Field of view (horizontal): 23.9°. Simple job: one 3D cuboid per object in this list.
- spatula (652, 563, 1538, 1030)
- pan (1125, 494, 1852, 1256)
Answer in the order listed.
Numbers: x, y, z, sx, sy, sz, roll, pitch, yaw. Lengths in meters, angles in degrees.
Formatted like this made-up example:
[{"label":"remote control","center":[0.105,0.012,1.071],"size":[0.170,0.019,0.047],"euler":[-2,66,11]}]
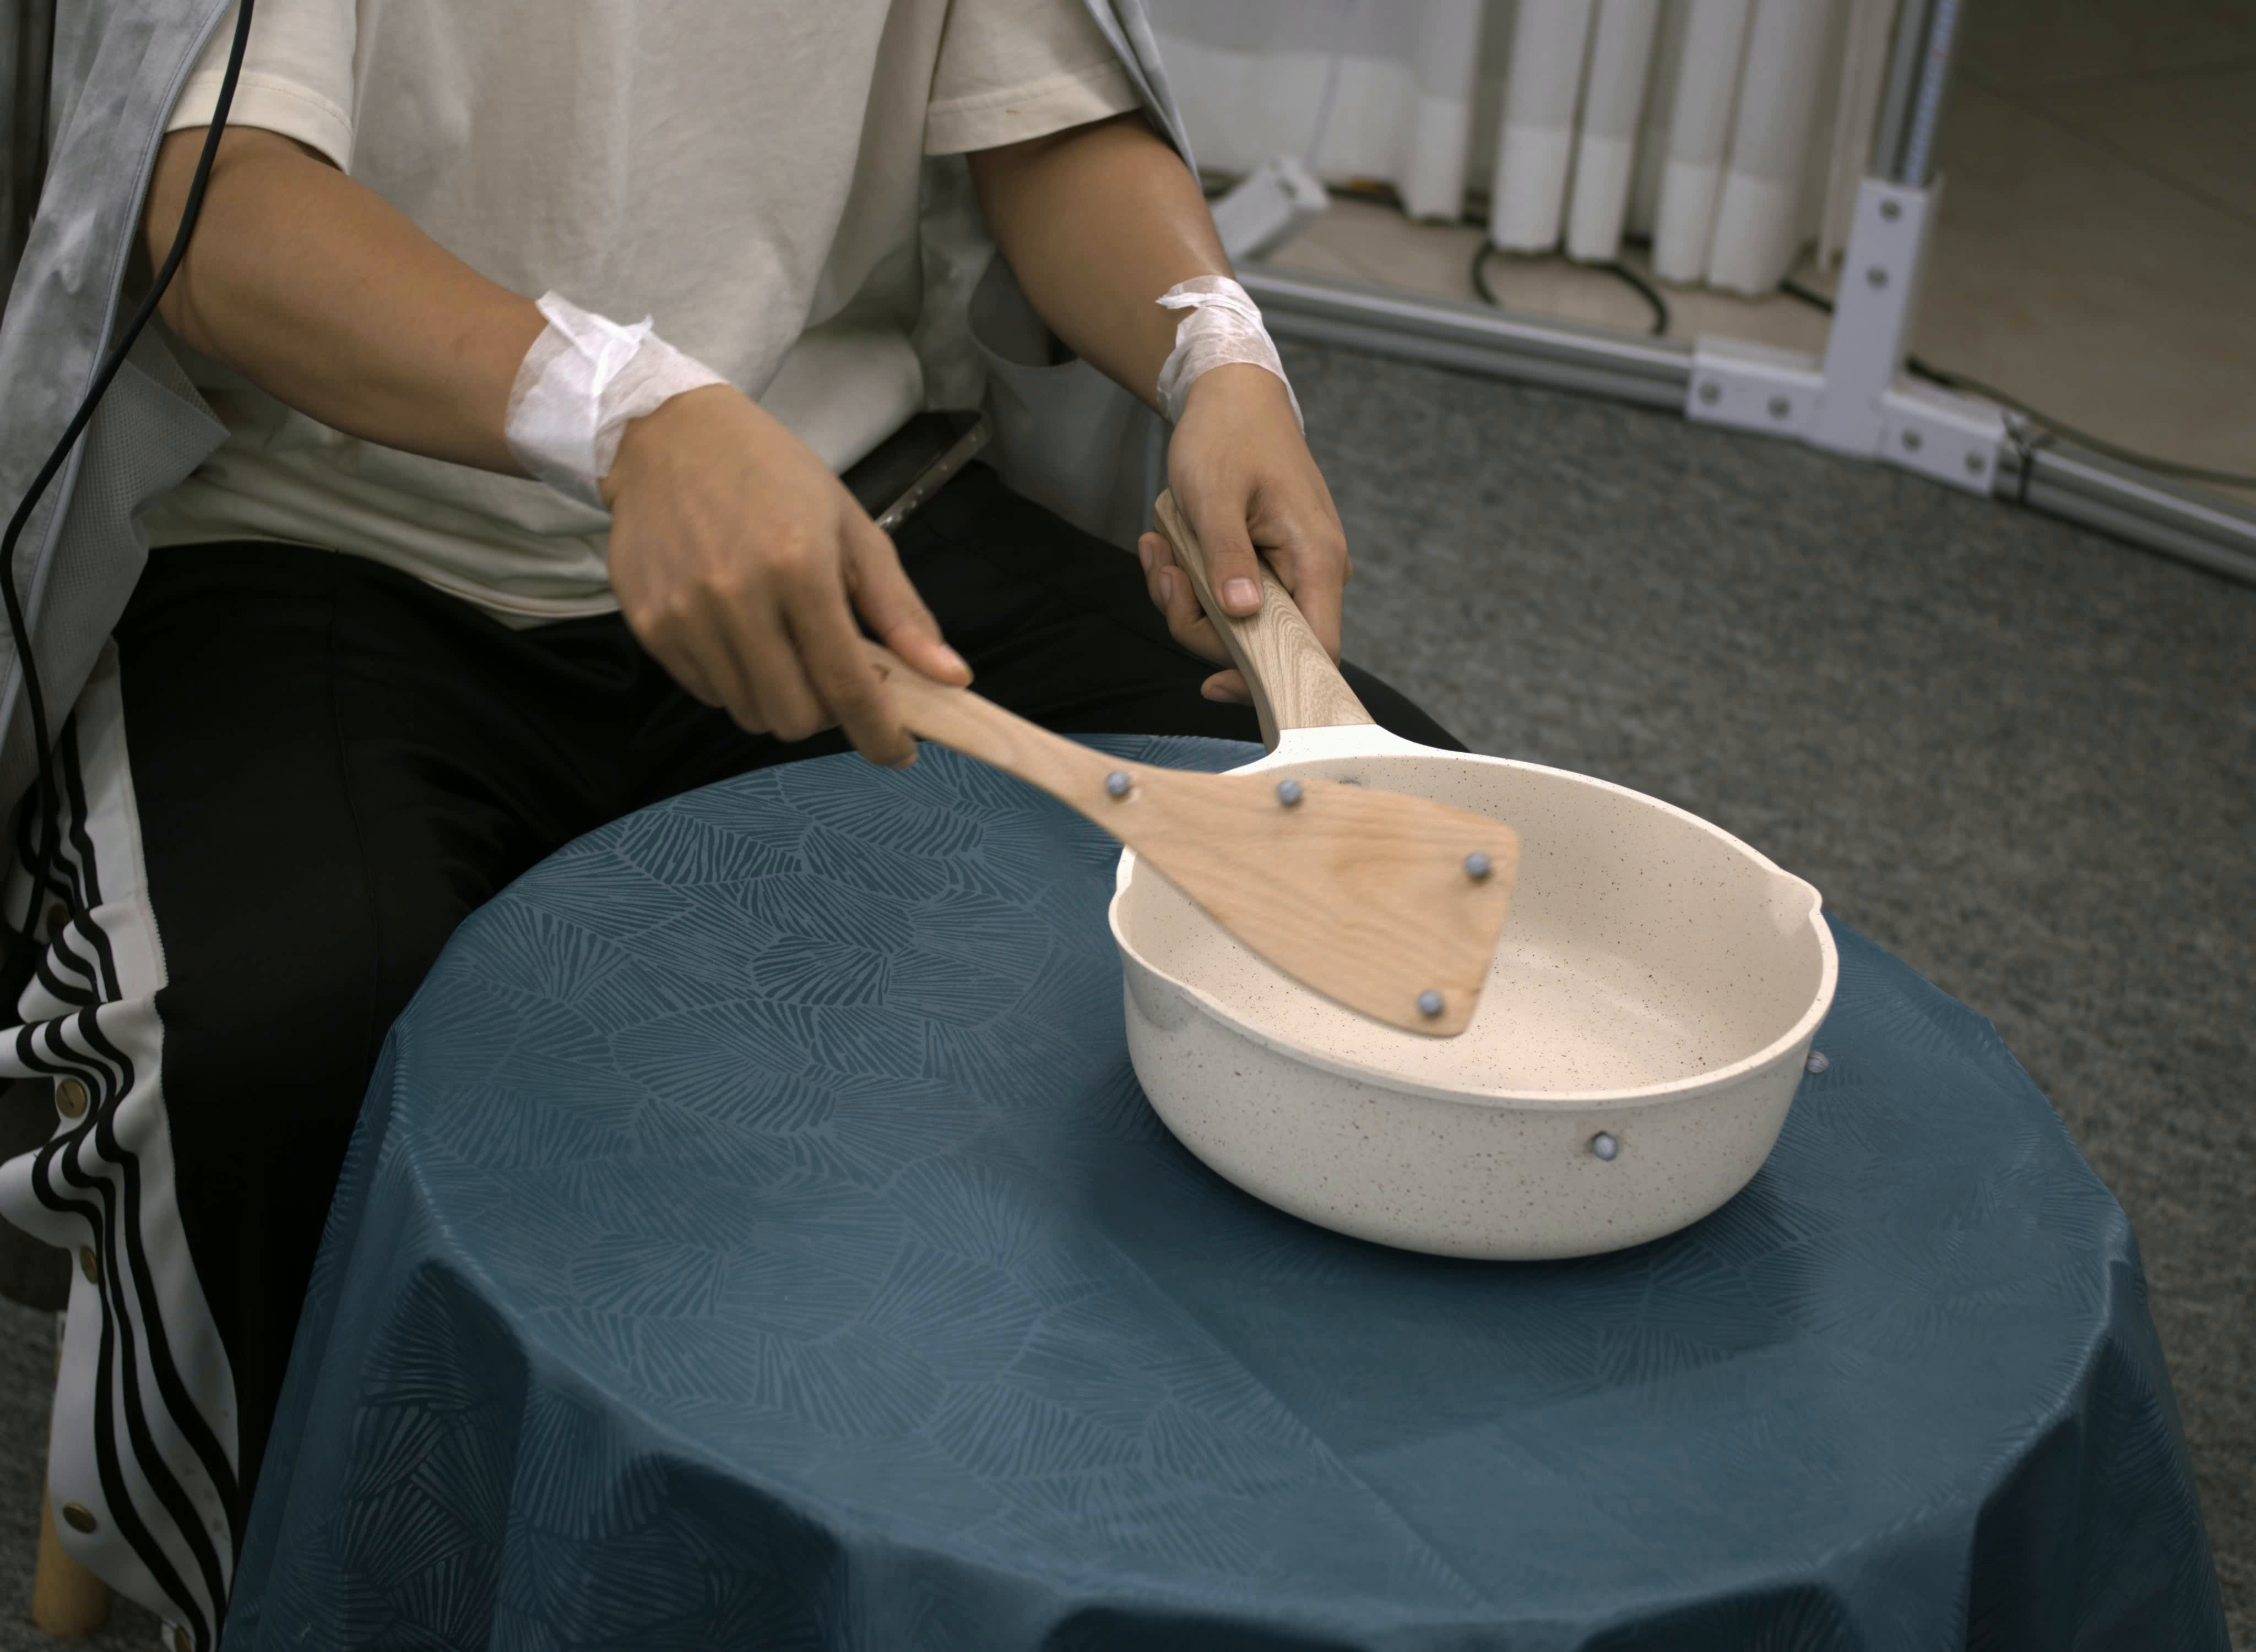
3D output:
[{"label":"spatula","center":[-0.015,-0.023,1.769],"size":[0.328,0.016,0.080],"euler":[23,69,16]},{"label":"pan","center":[0.091,0.015,1.928],"size":[0.262,0.101,0.439],"euler":[-5,29,-19]}]
